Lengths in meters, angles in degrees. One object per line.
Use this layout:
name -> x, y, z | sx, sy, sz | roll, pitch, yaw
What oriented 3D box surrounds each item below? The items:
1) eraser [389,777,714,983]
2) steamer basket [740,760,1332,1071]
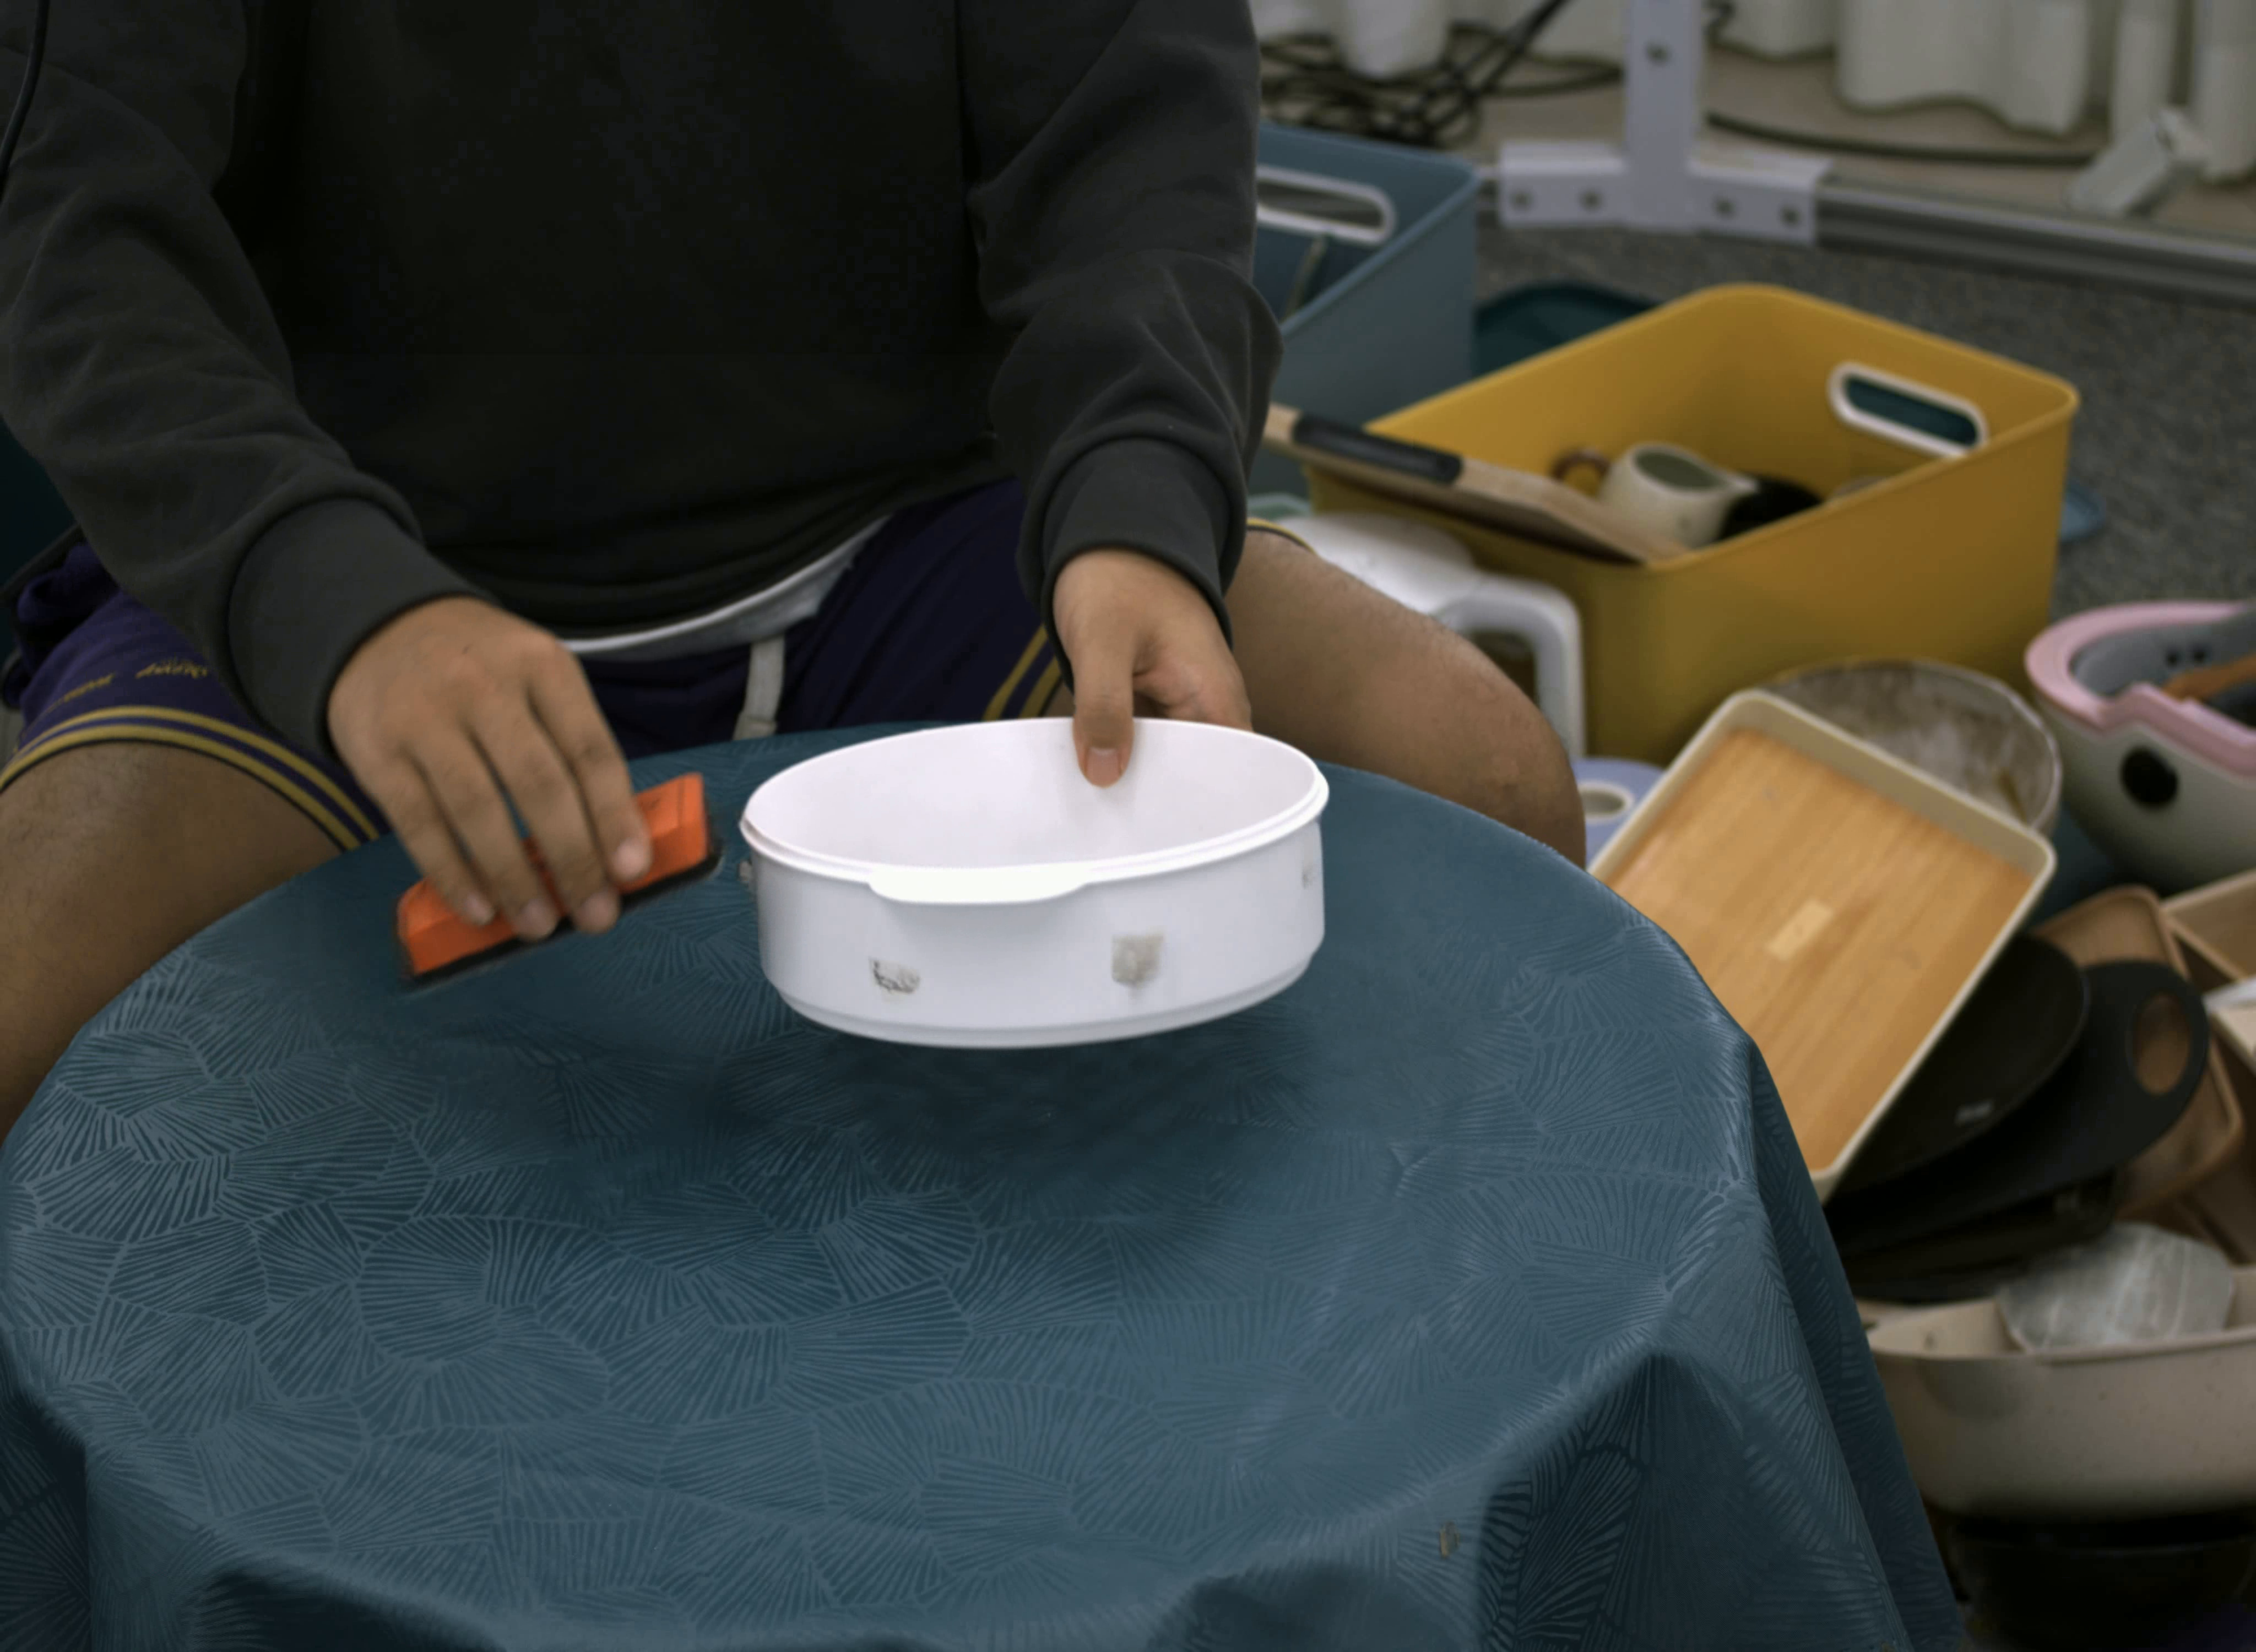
eraser -> -0.192, 0.018, 1.877 | 0.107, 0.023, 0.059 | -23, 11, 1
steamer basket -> -0.029, 0.031, 1.911 | 0.200, 0.069, 0.233 | -4, 12, 11
